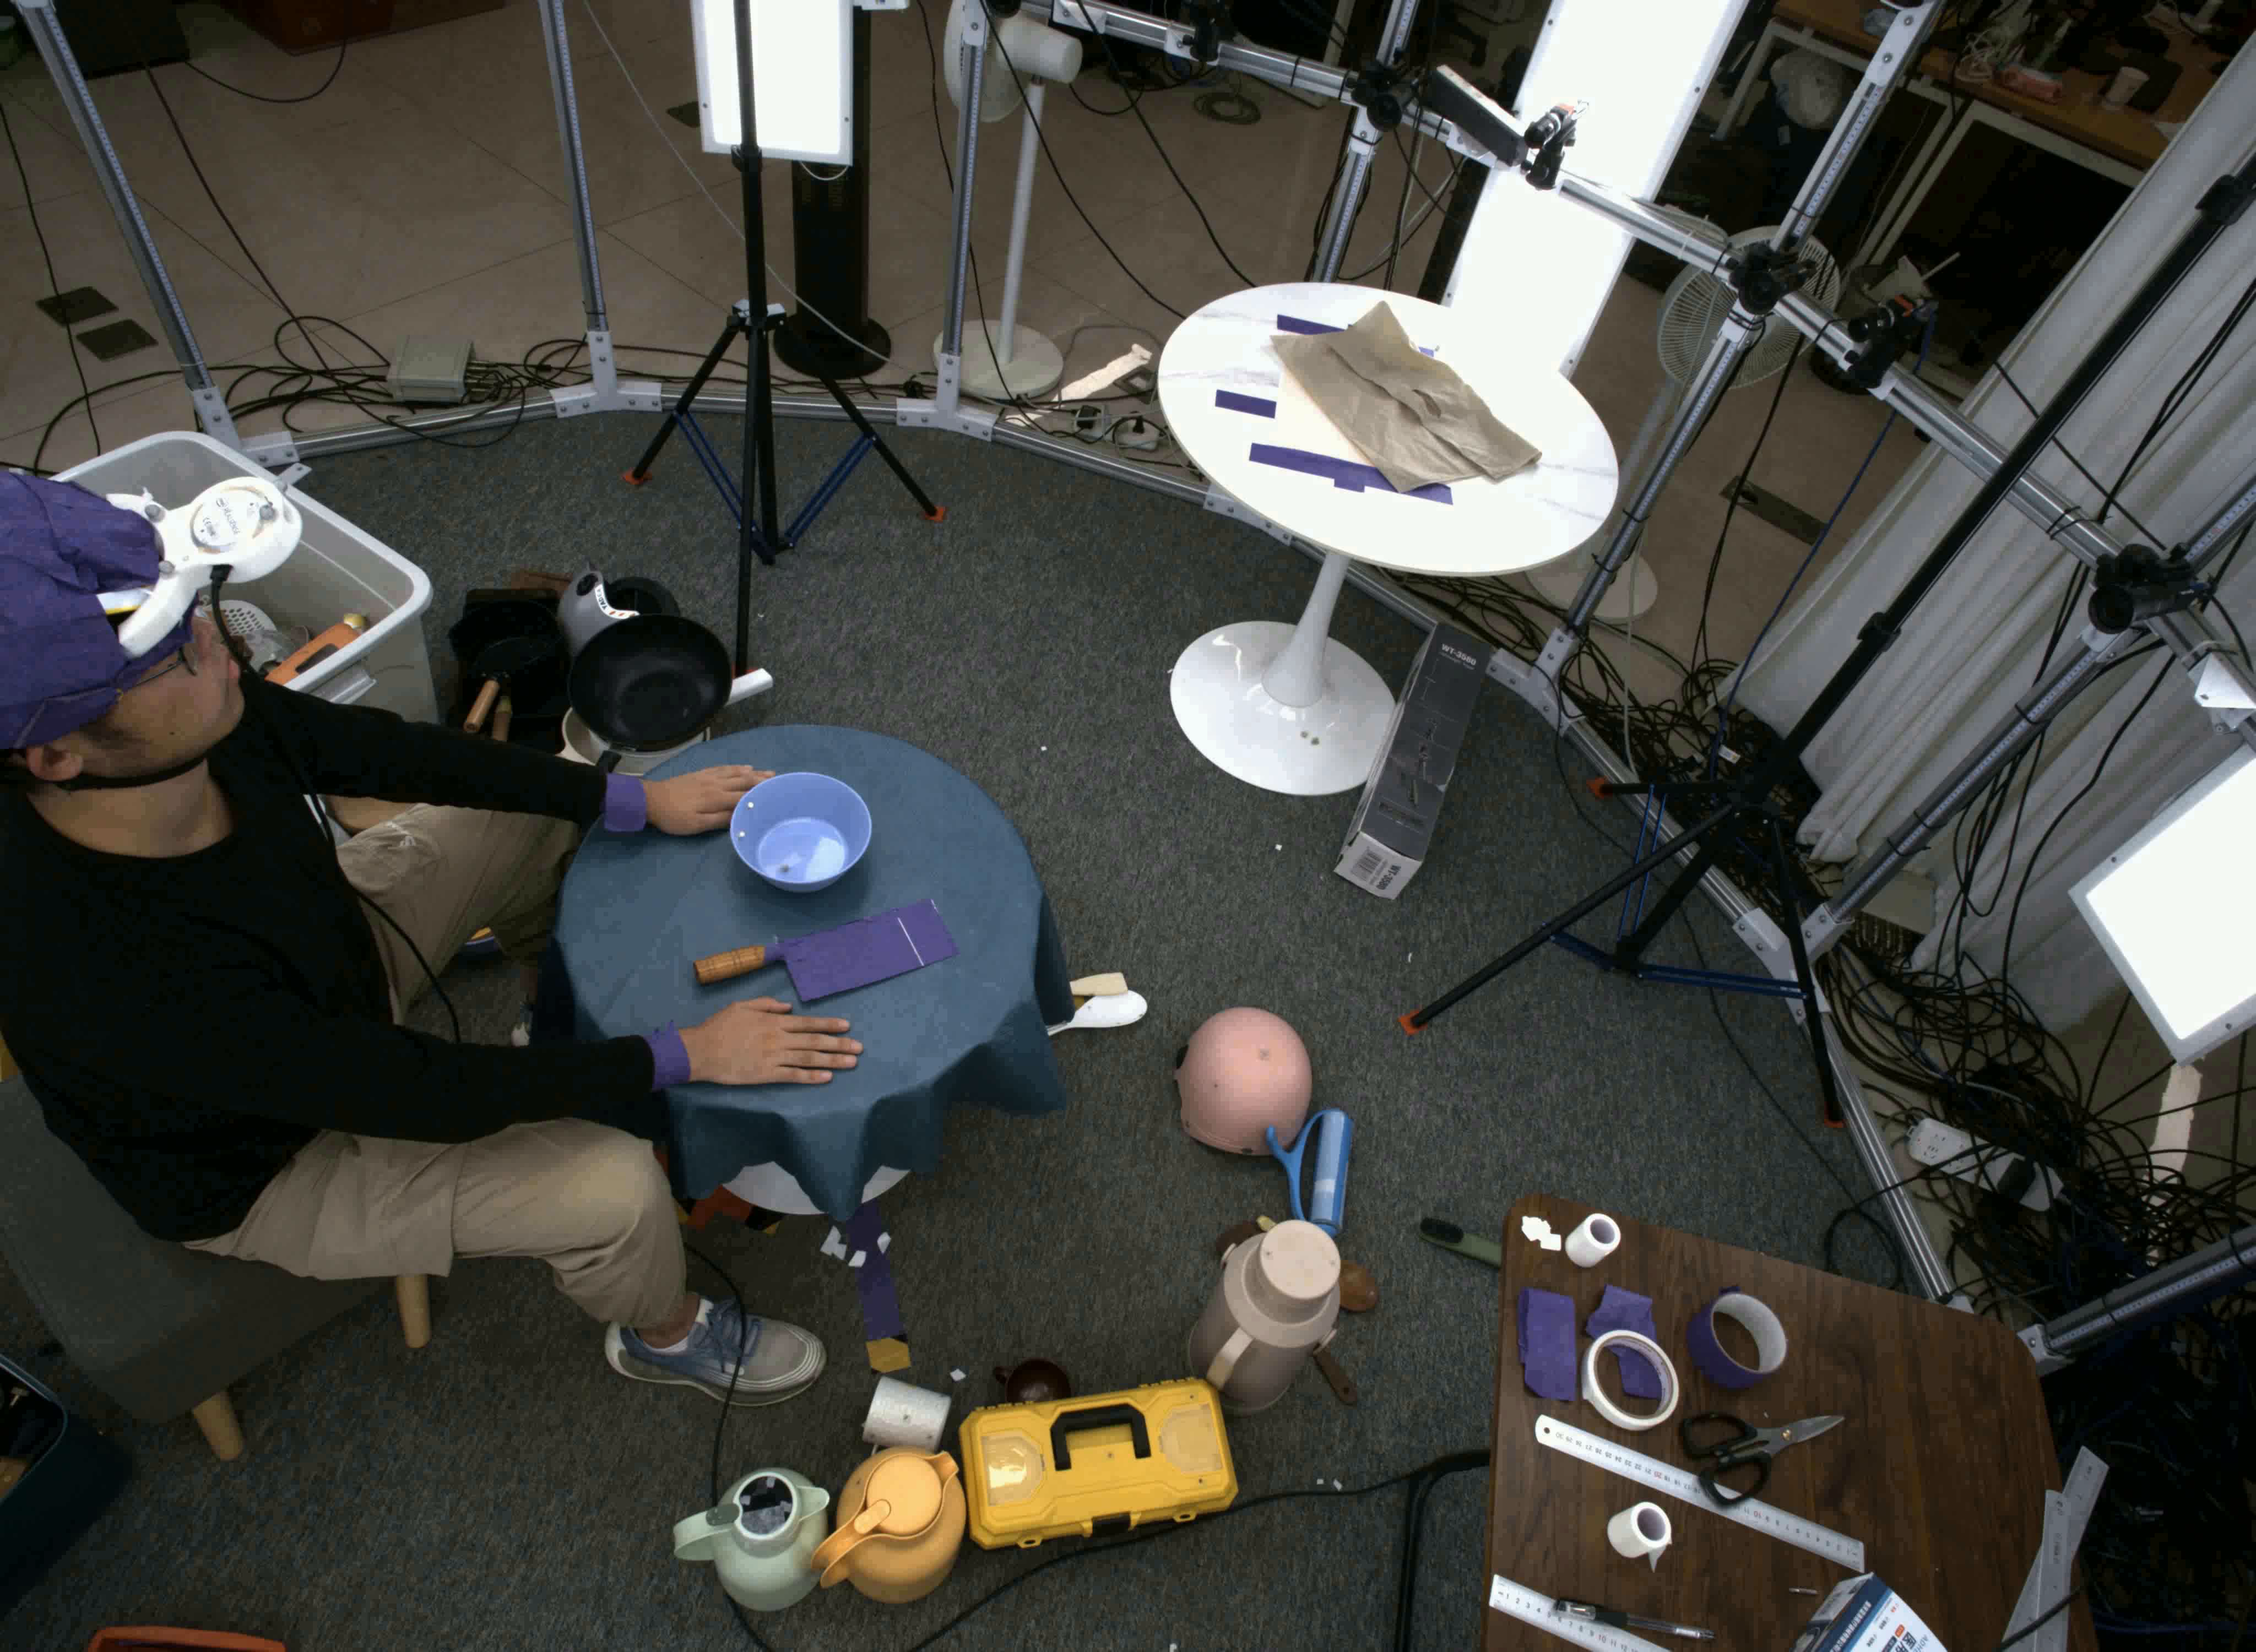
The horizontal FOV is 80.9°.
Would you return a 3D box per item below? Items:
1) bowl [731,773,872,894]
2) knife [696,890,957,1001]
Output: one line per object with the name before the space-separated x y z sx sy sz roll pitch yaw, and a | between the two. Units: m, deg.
bowl | -0.417 0.019 1.663 0.175 0.072 0.173 7 52 -7
knife | -0.366 0.160 1.600 0.317 0.033 0.101 -18 60 -27
